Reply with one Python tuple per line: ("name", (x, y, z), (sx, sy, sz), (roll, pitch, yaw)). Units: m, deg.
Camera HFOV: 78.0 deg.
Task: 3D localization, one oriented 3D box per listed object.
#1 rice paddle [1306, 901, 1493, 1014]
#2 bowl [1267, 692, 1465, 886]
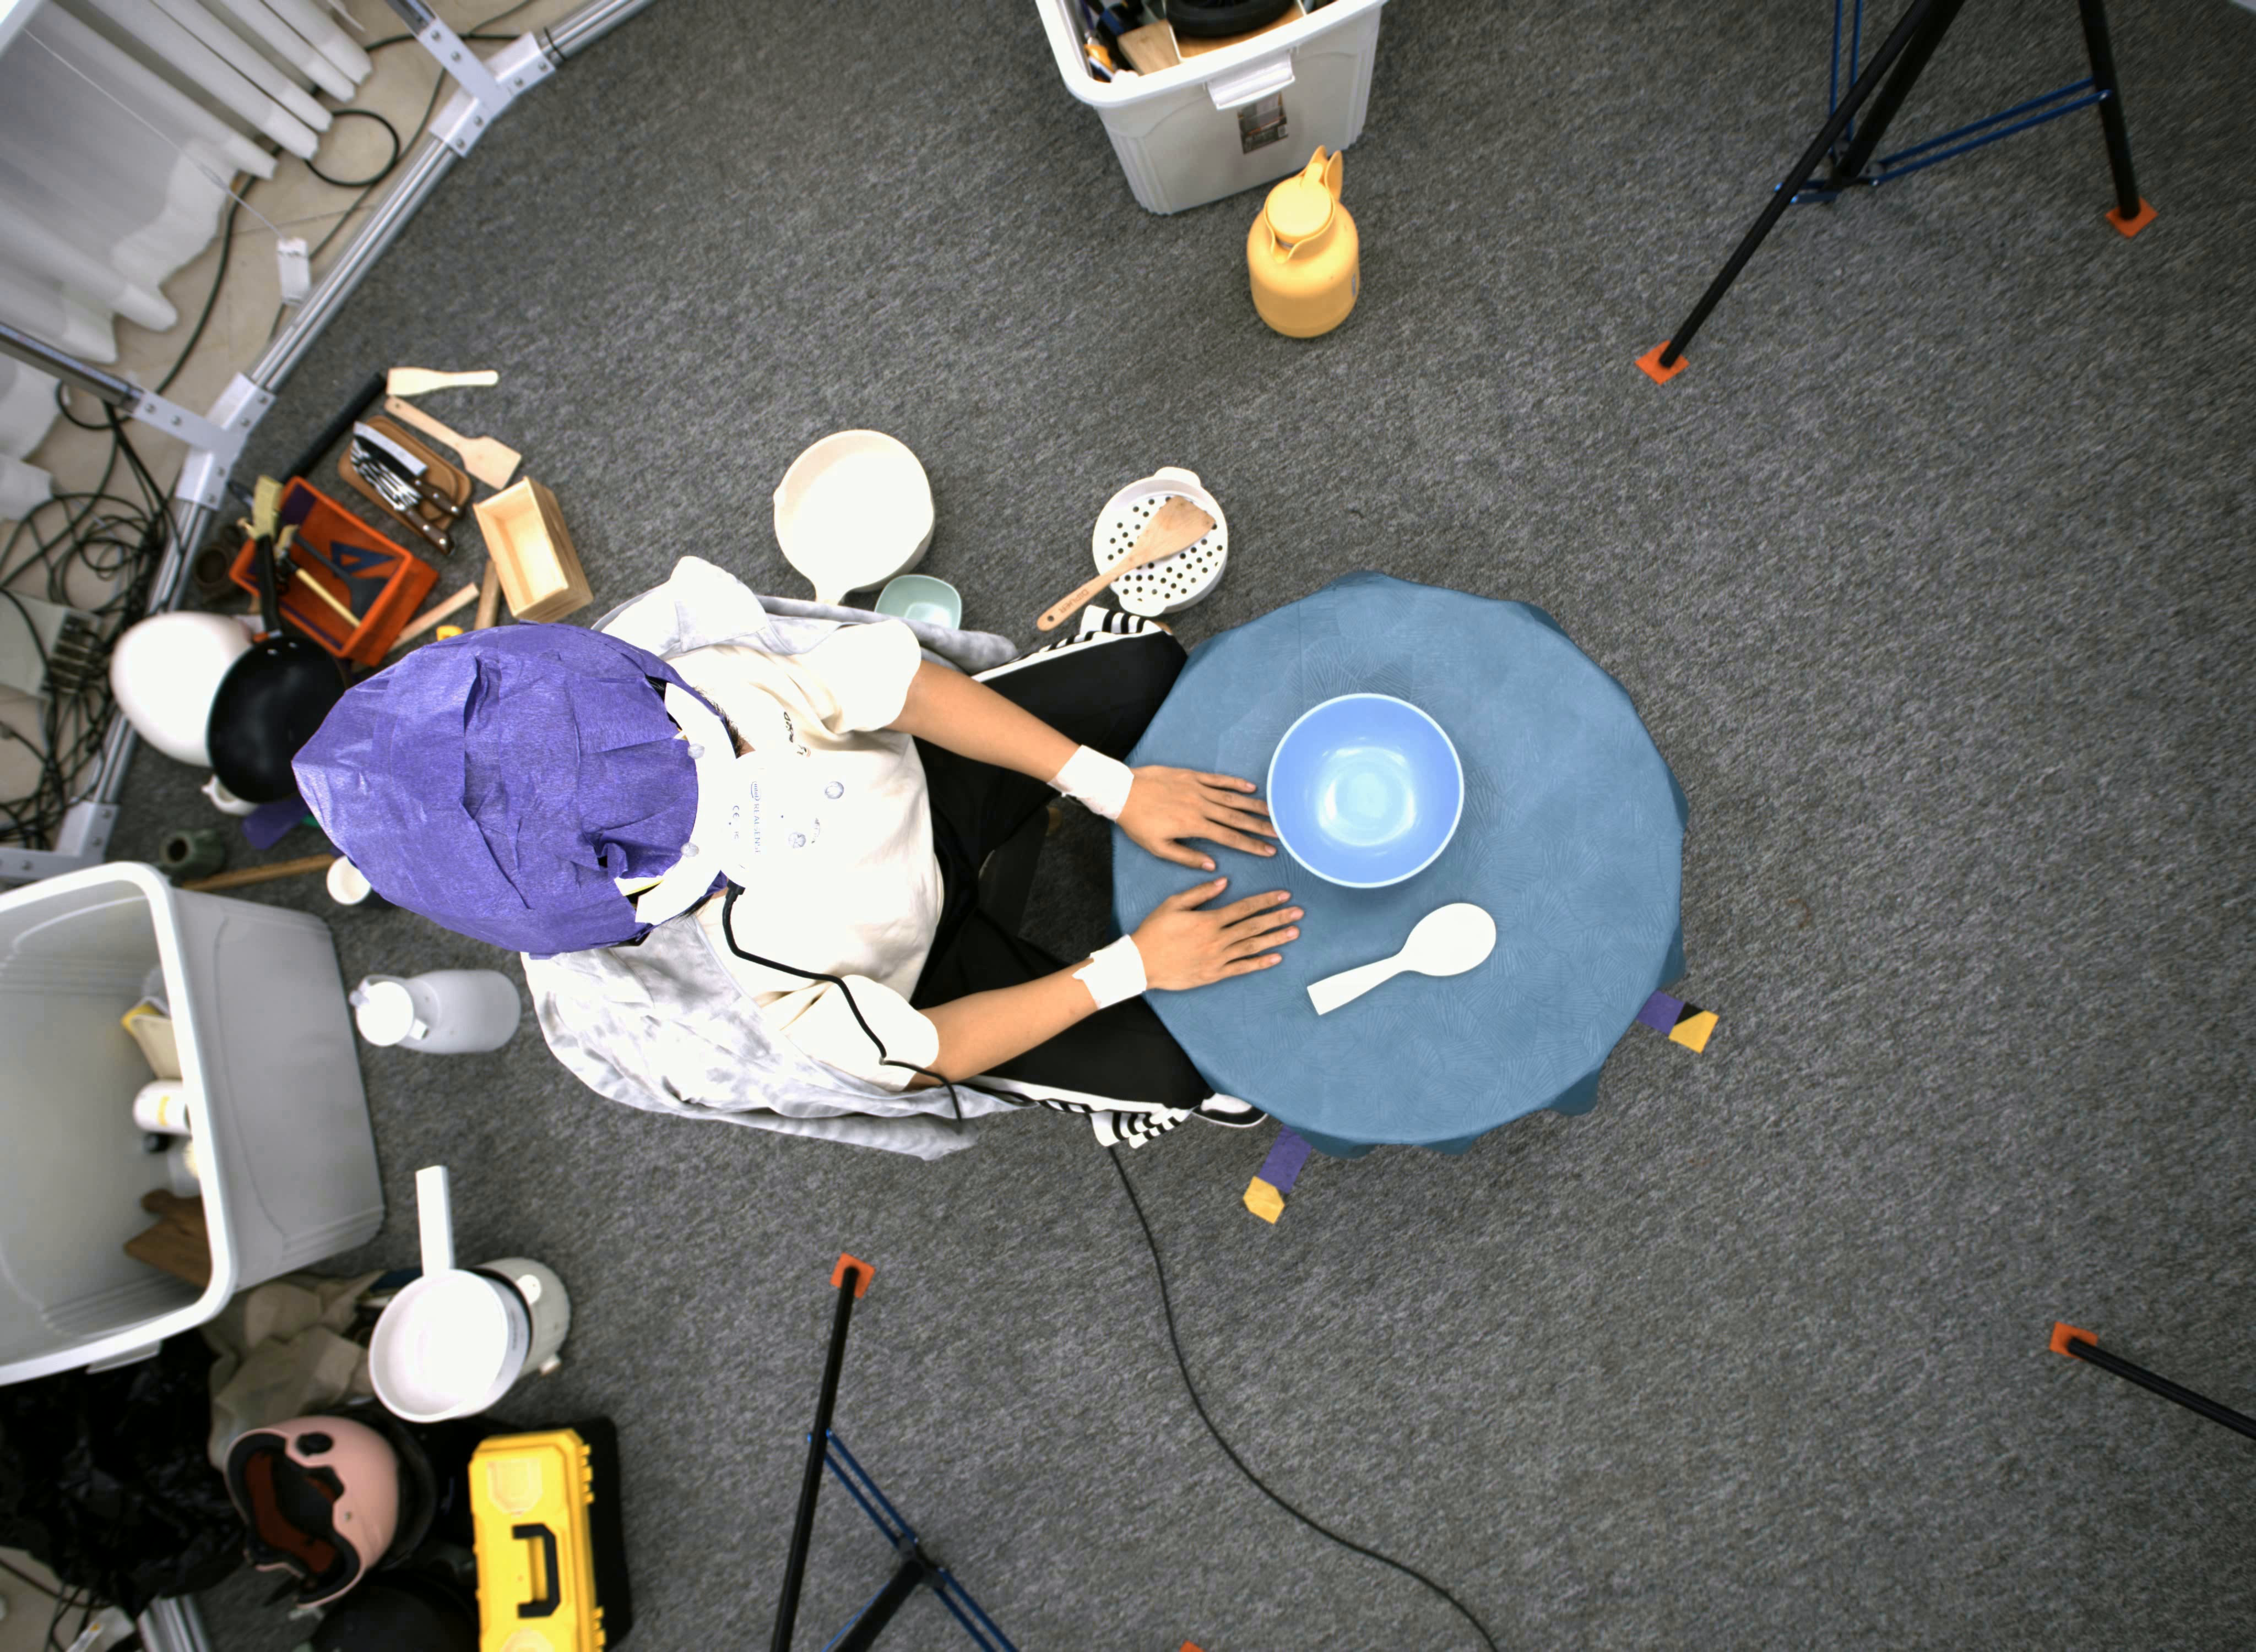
("rice paddle", (0.283, 0.138, 1.436), (0.206, 0.029, 0.068), (-26, 84, 8))
("bowl", (0.242, -0.034, 1.419), (0.197, 0.095, 0.195), (-1, 87, 8))
